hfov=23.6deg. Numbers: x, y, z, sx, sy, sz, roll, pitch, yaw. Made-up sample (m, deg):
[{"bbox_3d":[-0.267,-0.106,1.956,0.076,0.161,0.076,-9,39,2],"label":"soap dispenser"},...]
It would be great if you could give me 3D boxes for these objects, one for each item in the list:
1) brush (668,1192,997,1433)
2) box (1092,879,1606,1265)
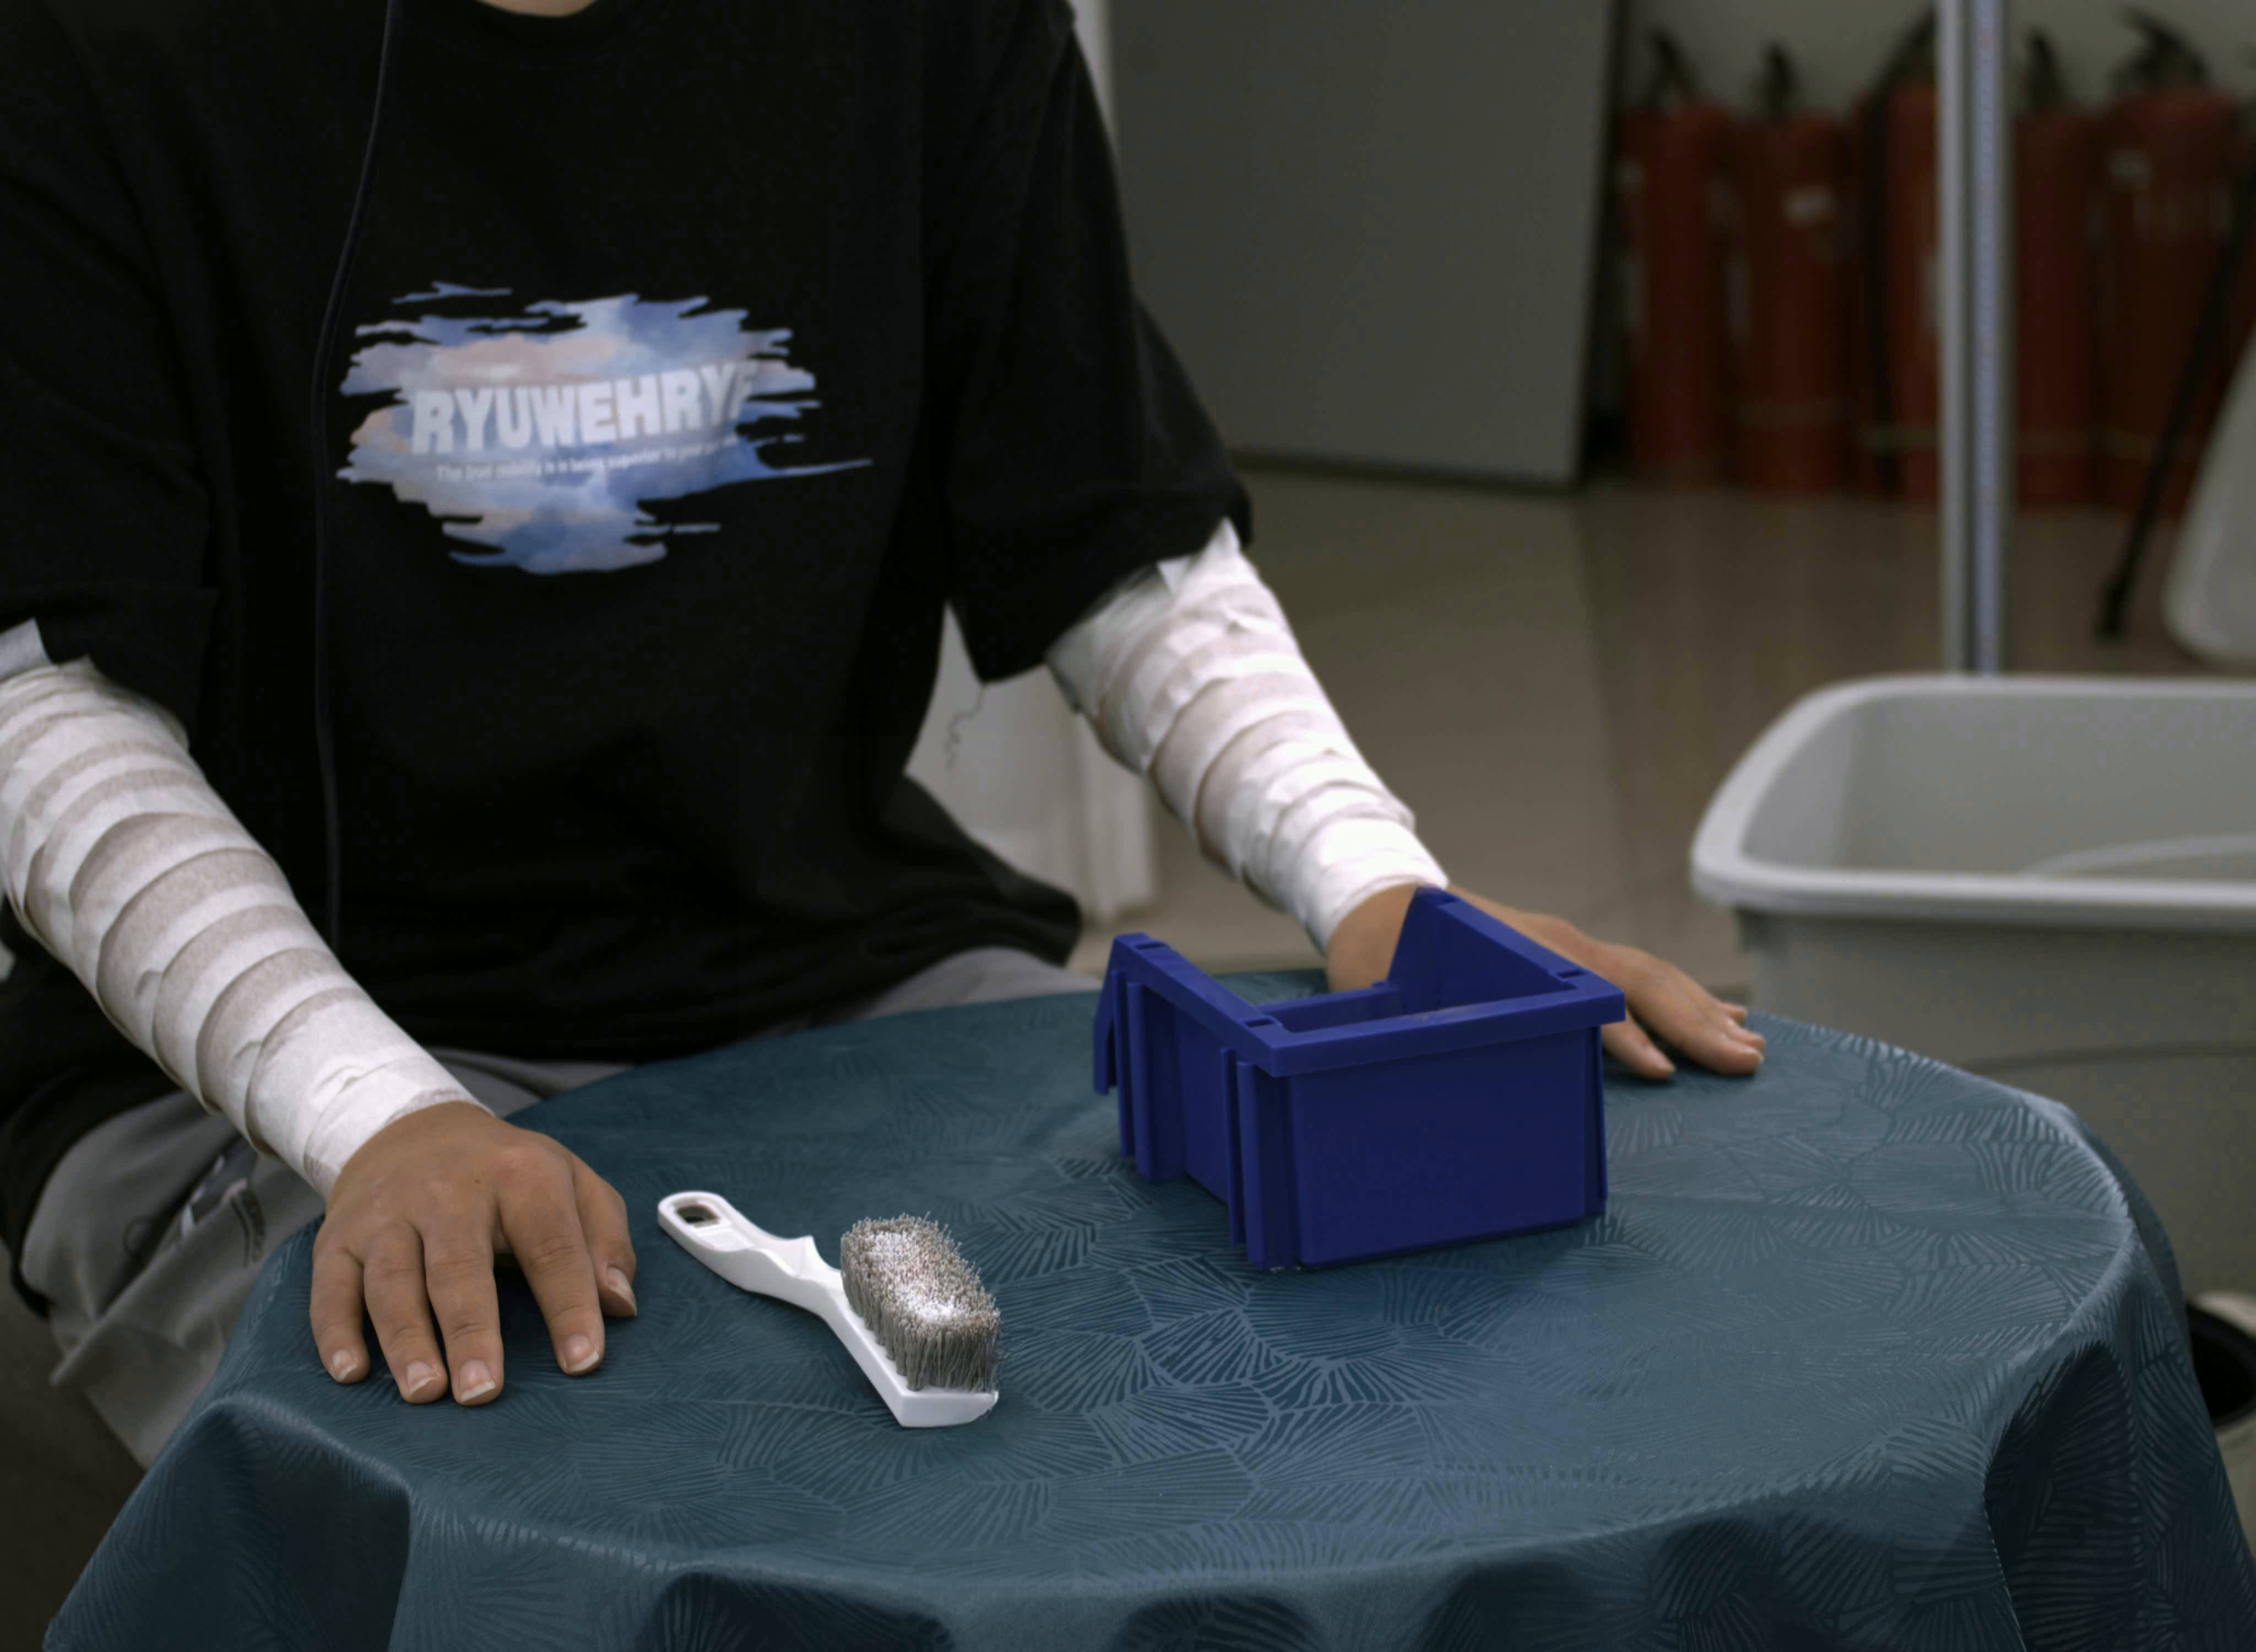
[{"bbox_3d":[-0.096,0.129,1.662,0.033,0.051,0.246,-9,15,-21],"label":"brush"},{"bbox_3d":[0.067,0.077,1.763,0.122,0.083,0.181,-8,15,-16],"label":"box"}]
